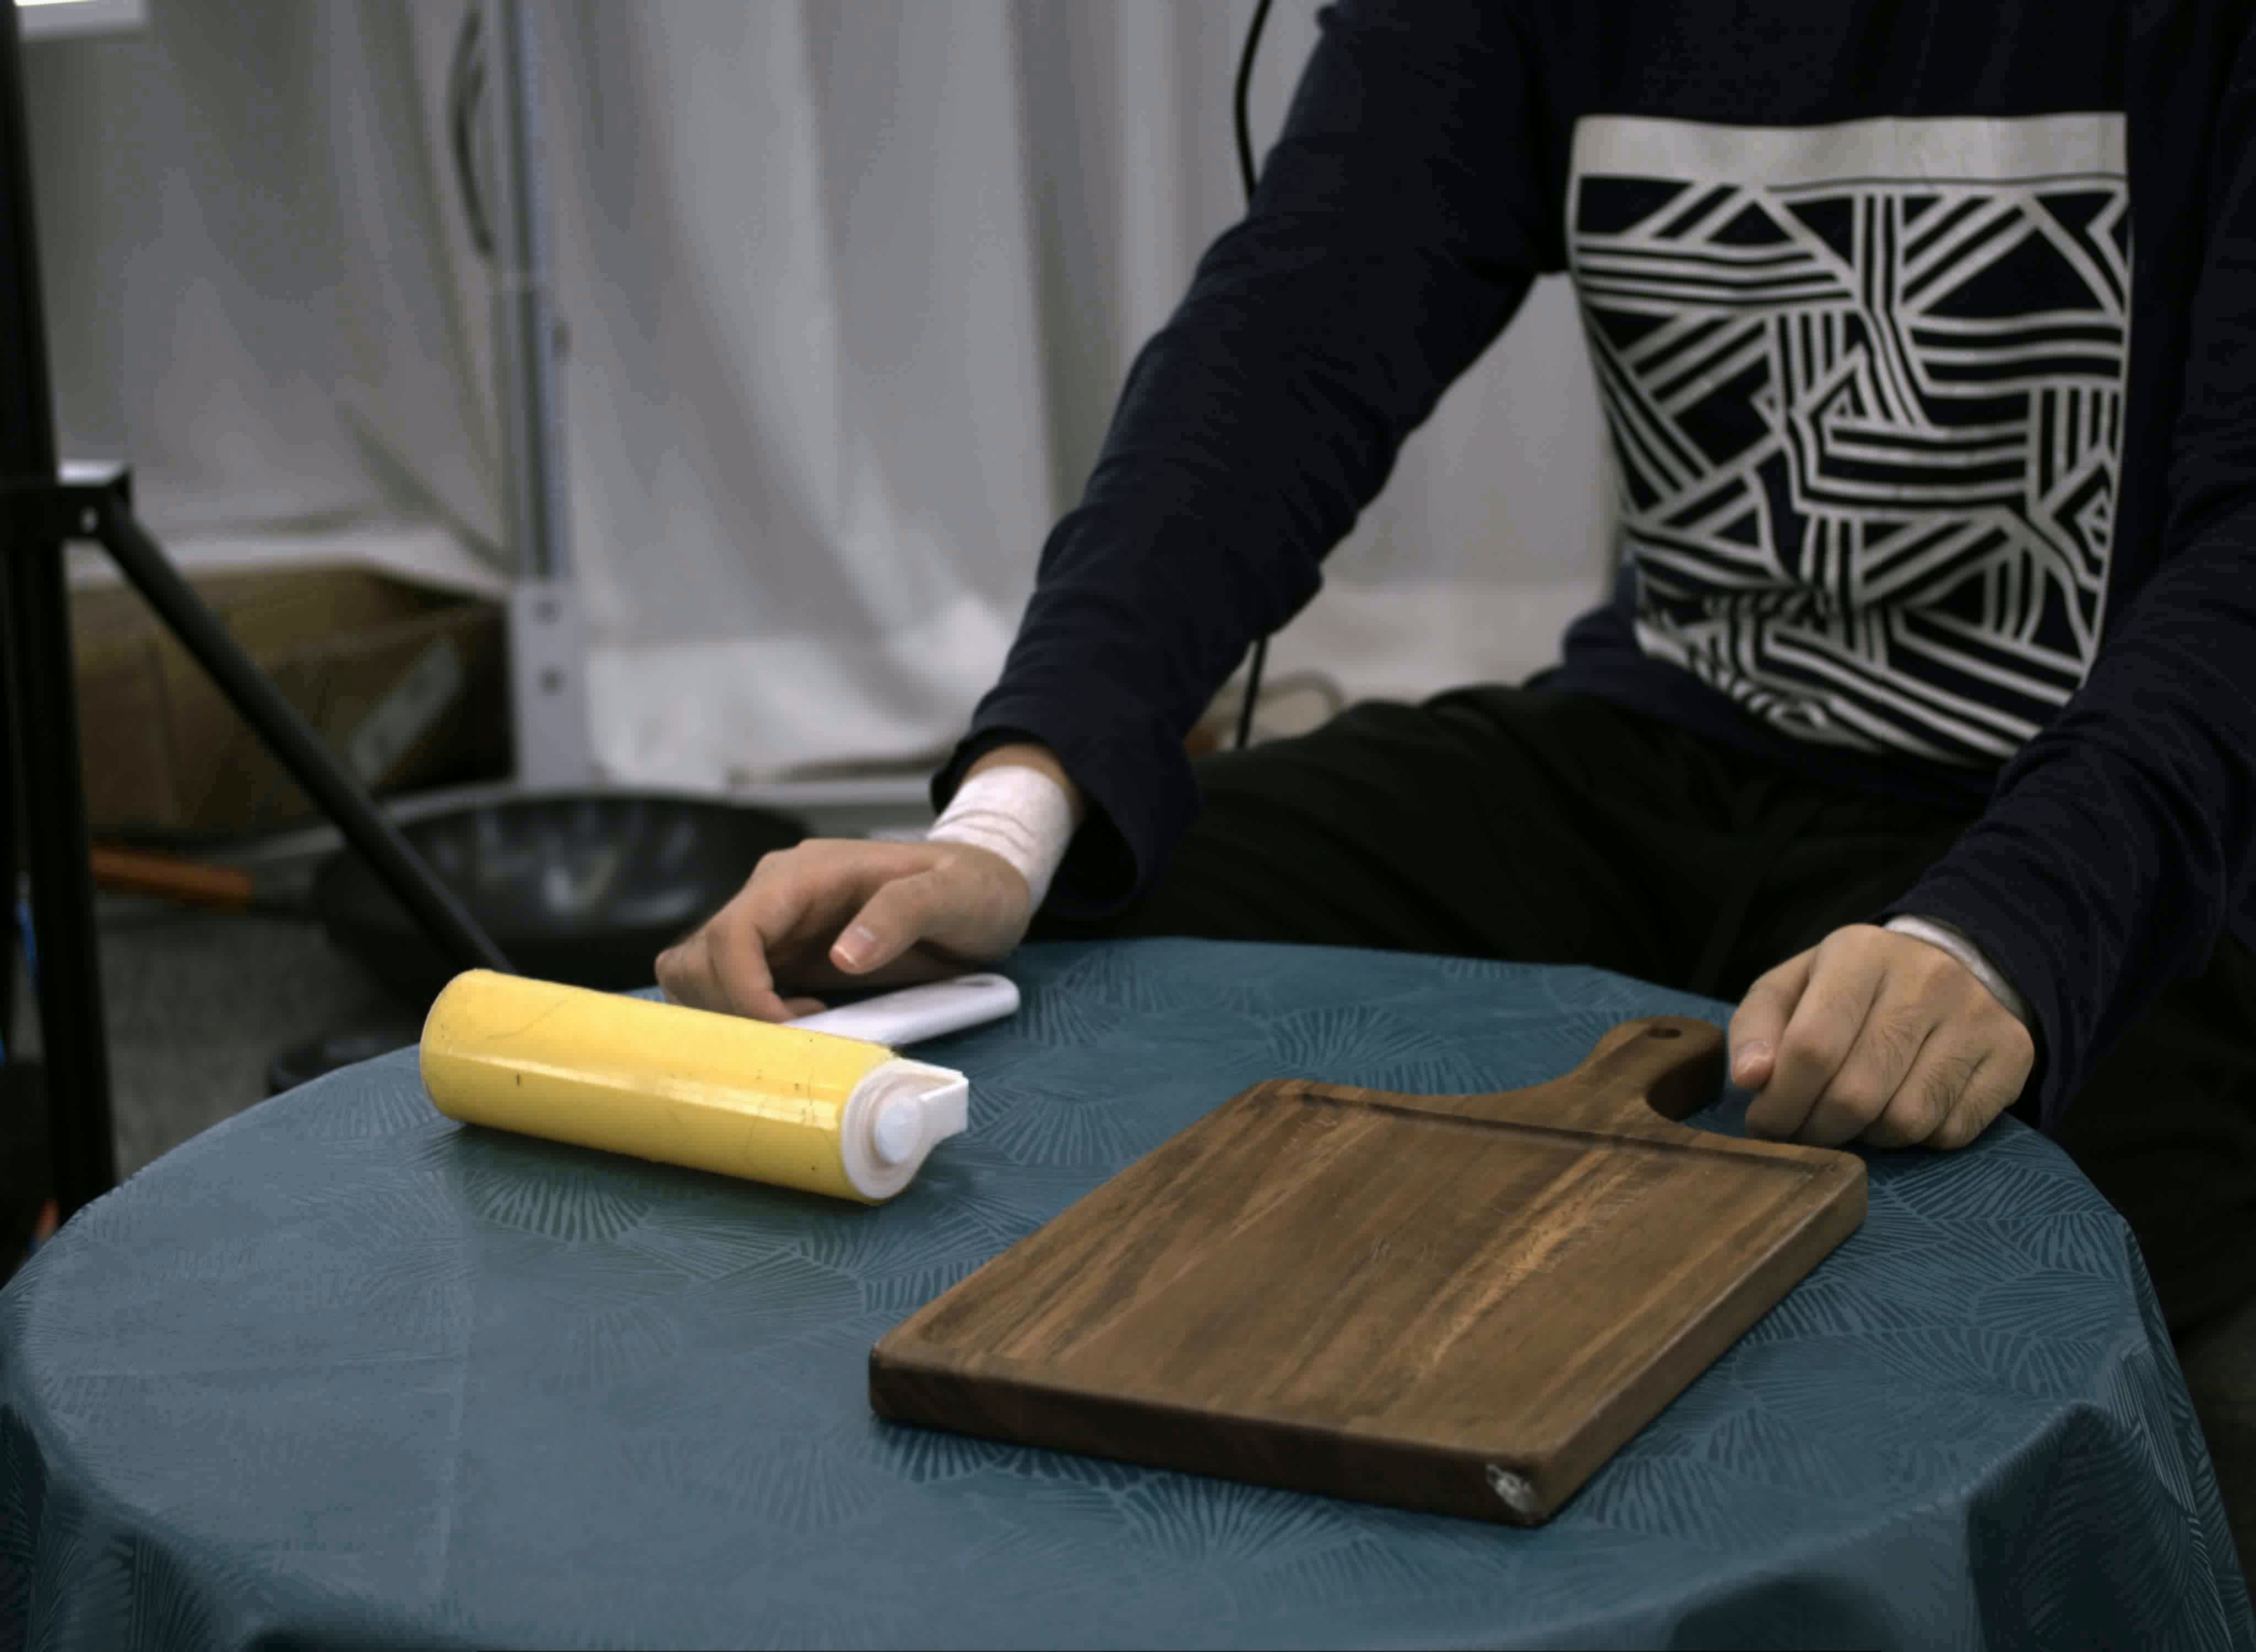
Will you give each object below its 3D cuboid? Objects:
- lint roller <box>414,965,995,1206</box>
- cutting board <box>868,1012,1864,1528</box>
[{"bbox_3d":[-0.100,0.059,1.660,0.177,0.051,0.188,9,22,32],"label":"lint roller"},{"bbox_3d":[0.093,0.112,1.493,0.204,0.023,0.346,6,18,27],"label":"cutting board"}]
